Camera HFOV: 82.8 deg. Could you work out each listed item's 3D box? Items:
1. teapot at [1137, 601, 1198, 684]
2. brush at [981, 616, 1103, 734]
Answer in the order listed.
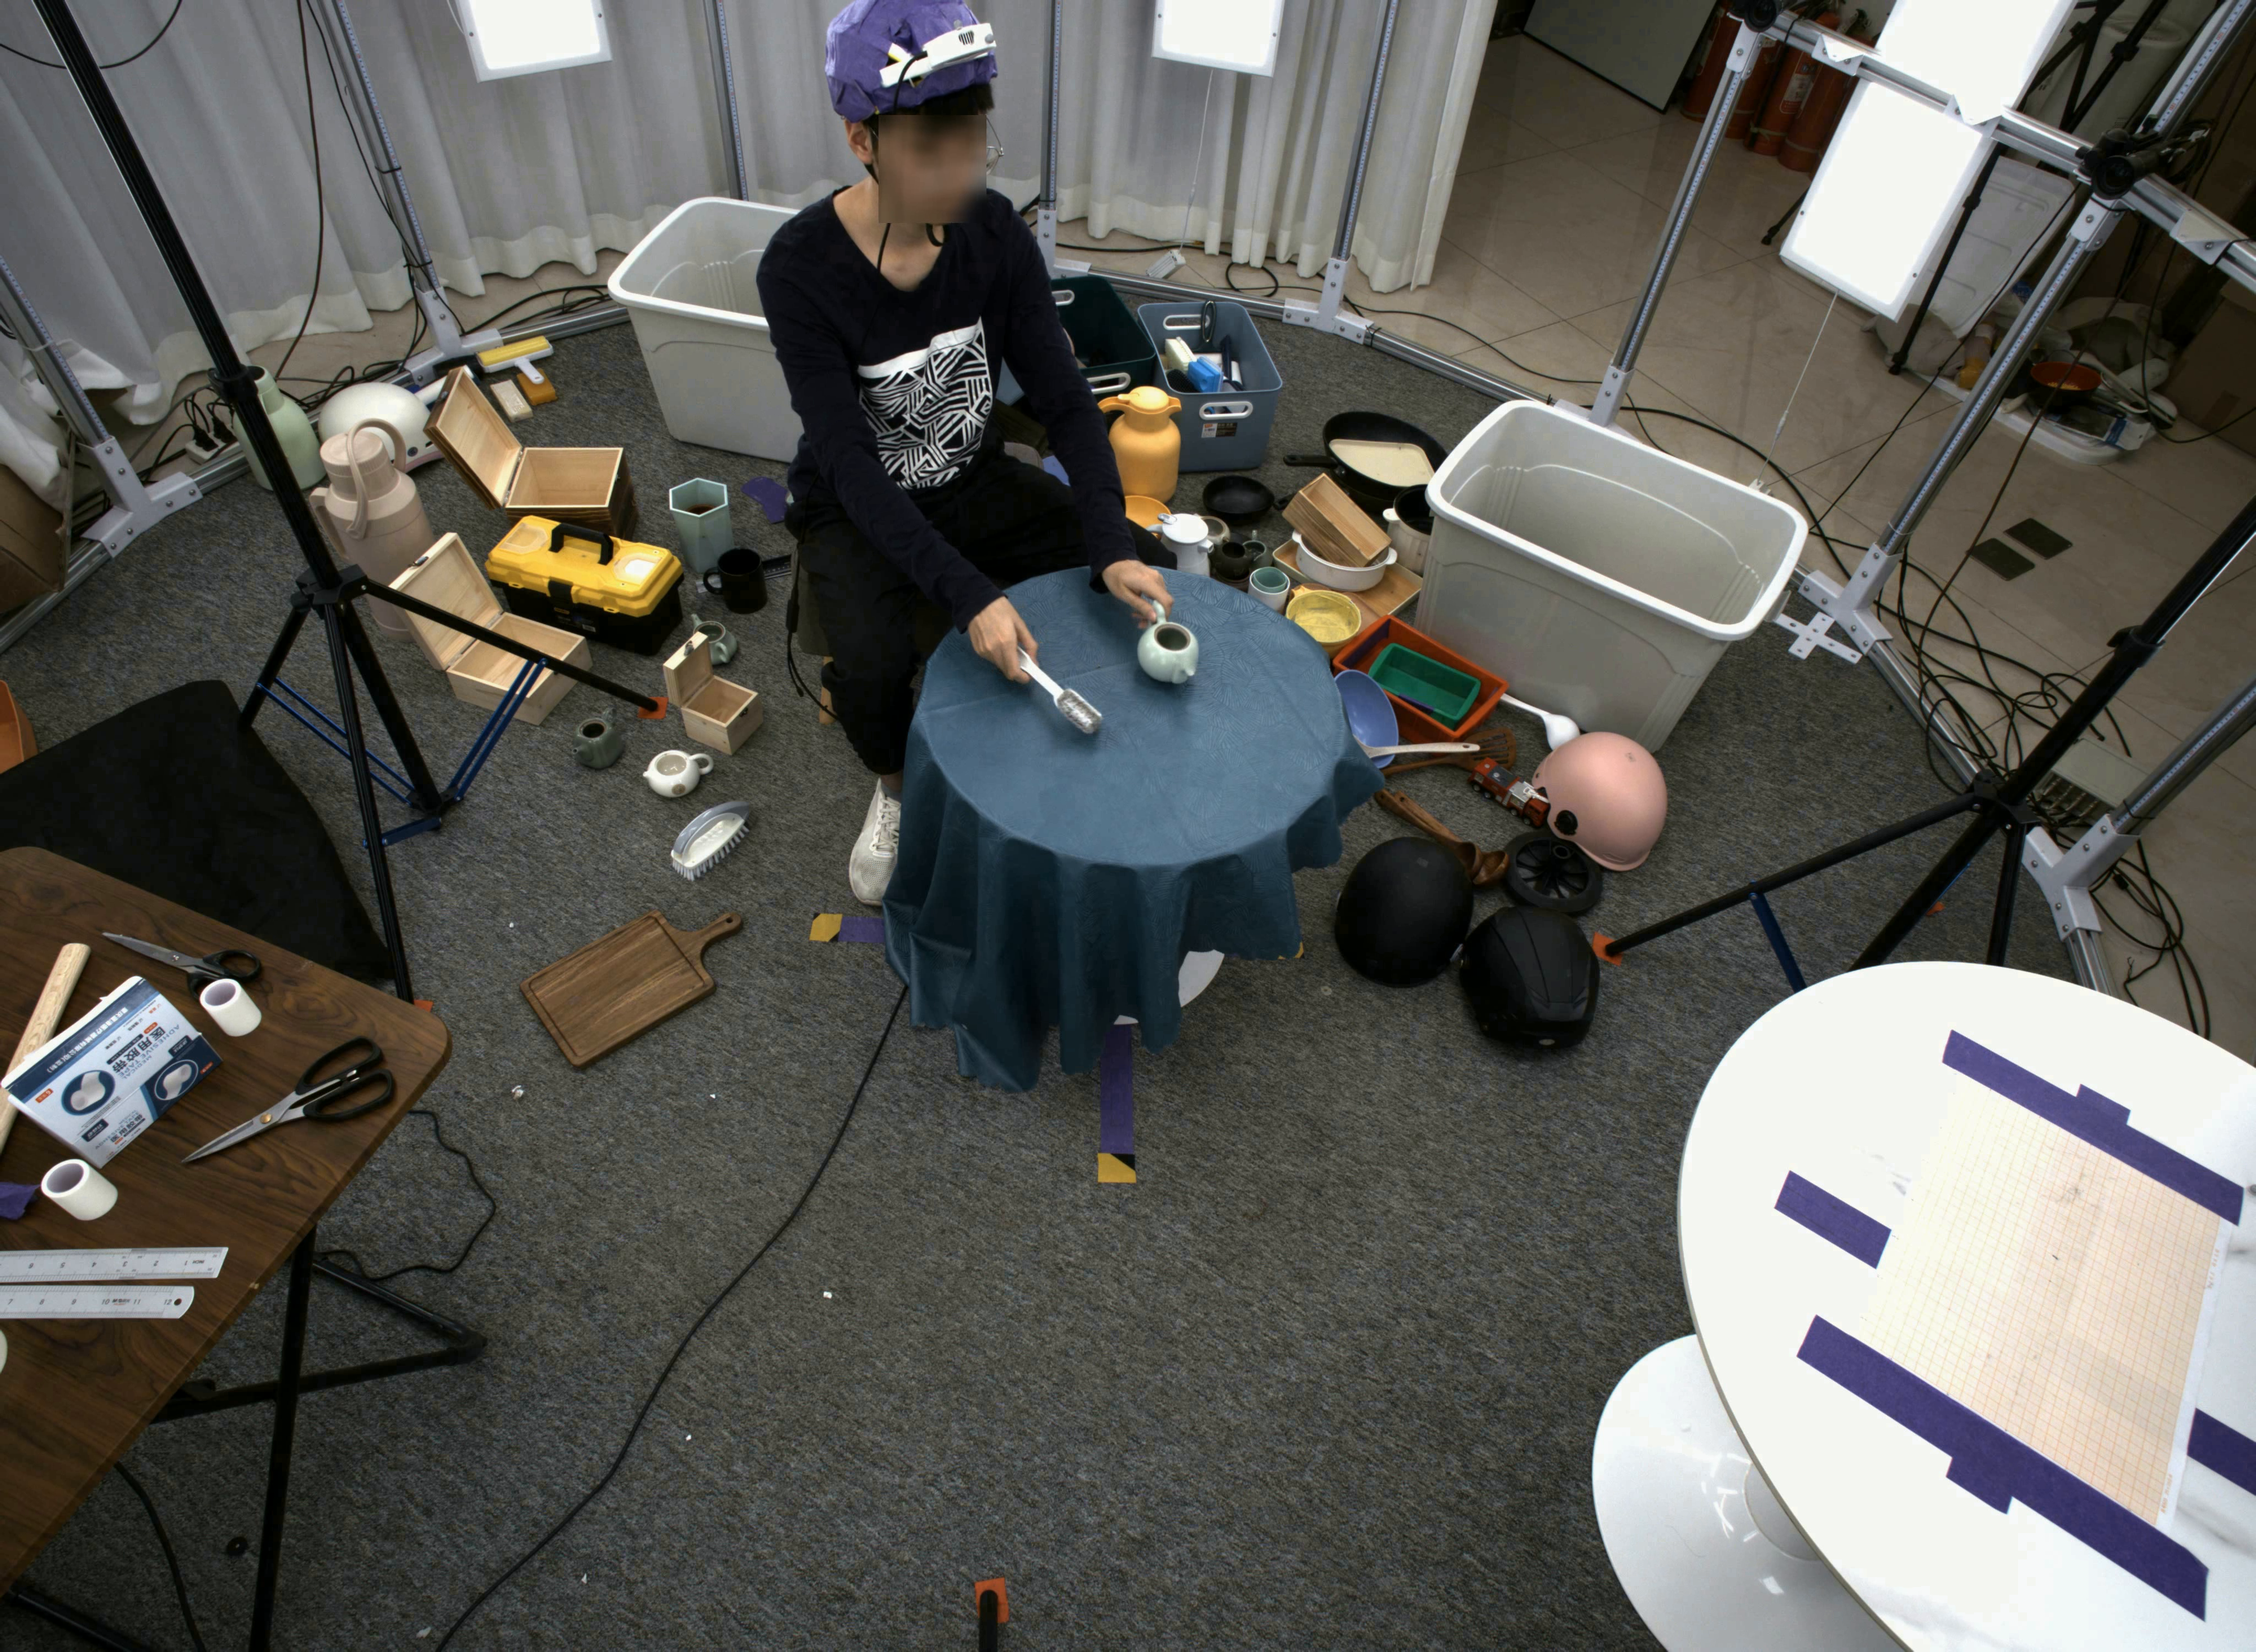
[{"bbox_3d":[0.057,-0.249,1.839,0.088,0.073,0.147,-11,57,-17],"label":"teapot"},{"bbox_3d":[-0.125,-0.215,1.784,0.246,0.050,0.034,44,96,16],"label":"brush"}]
